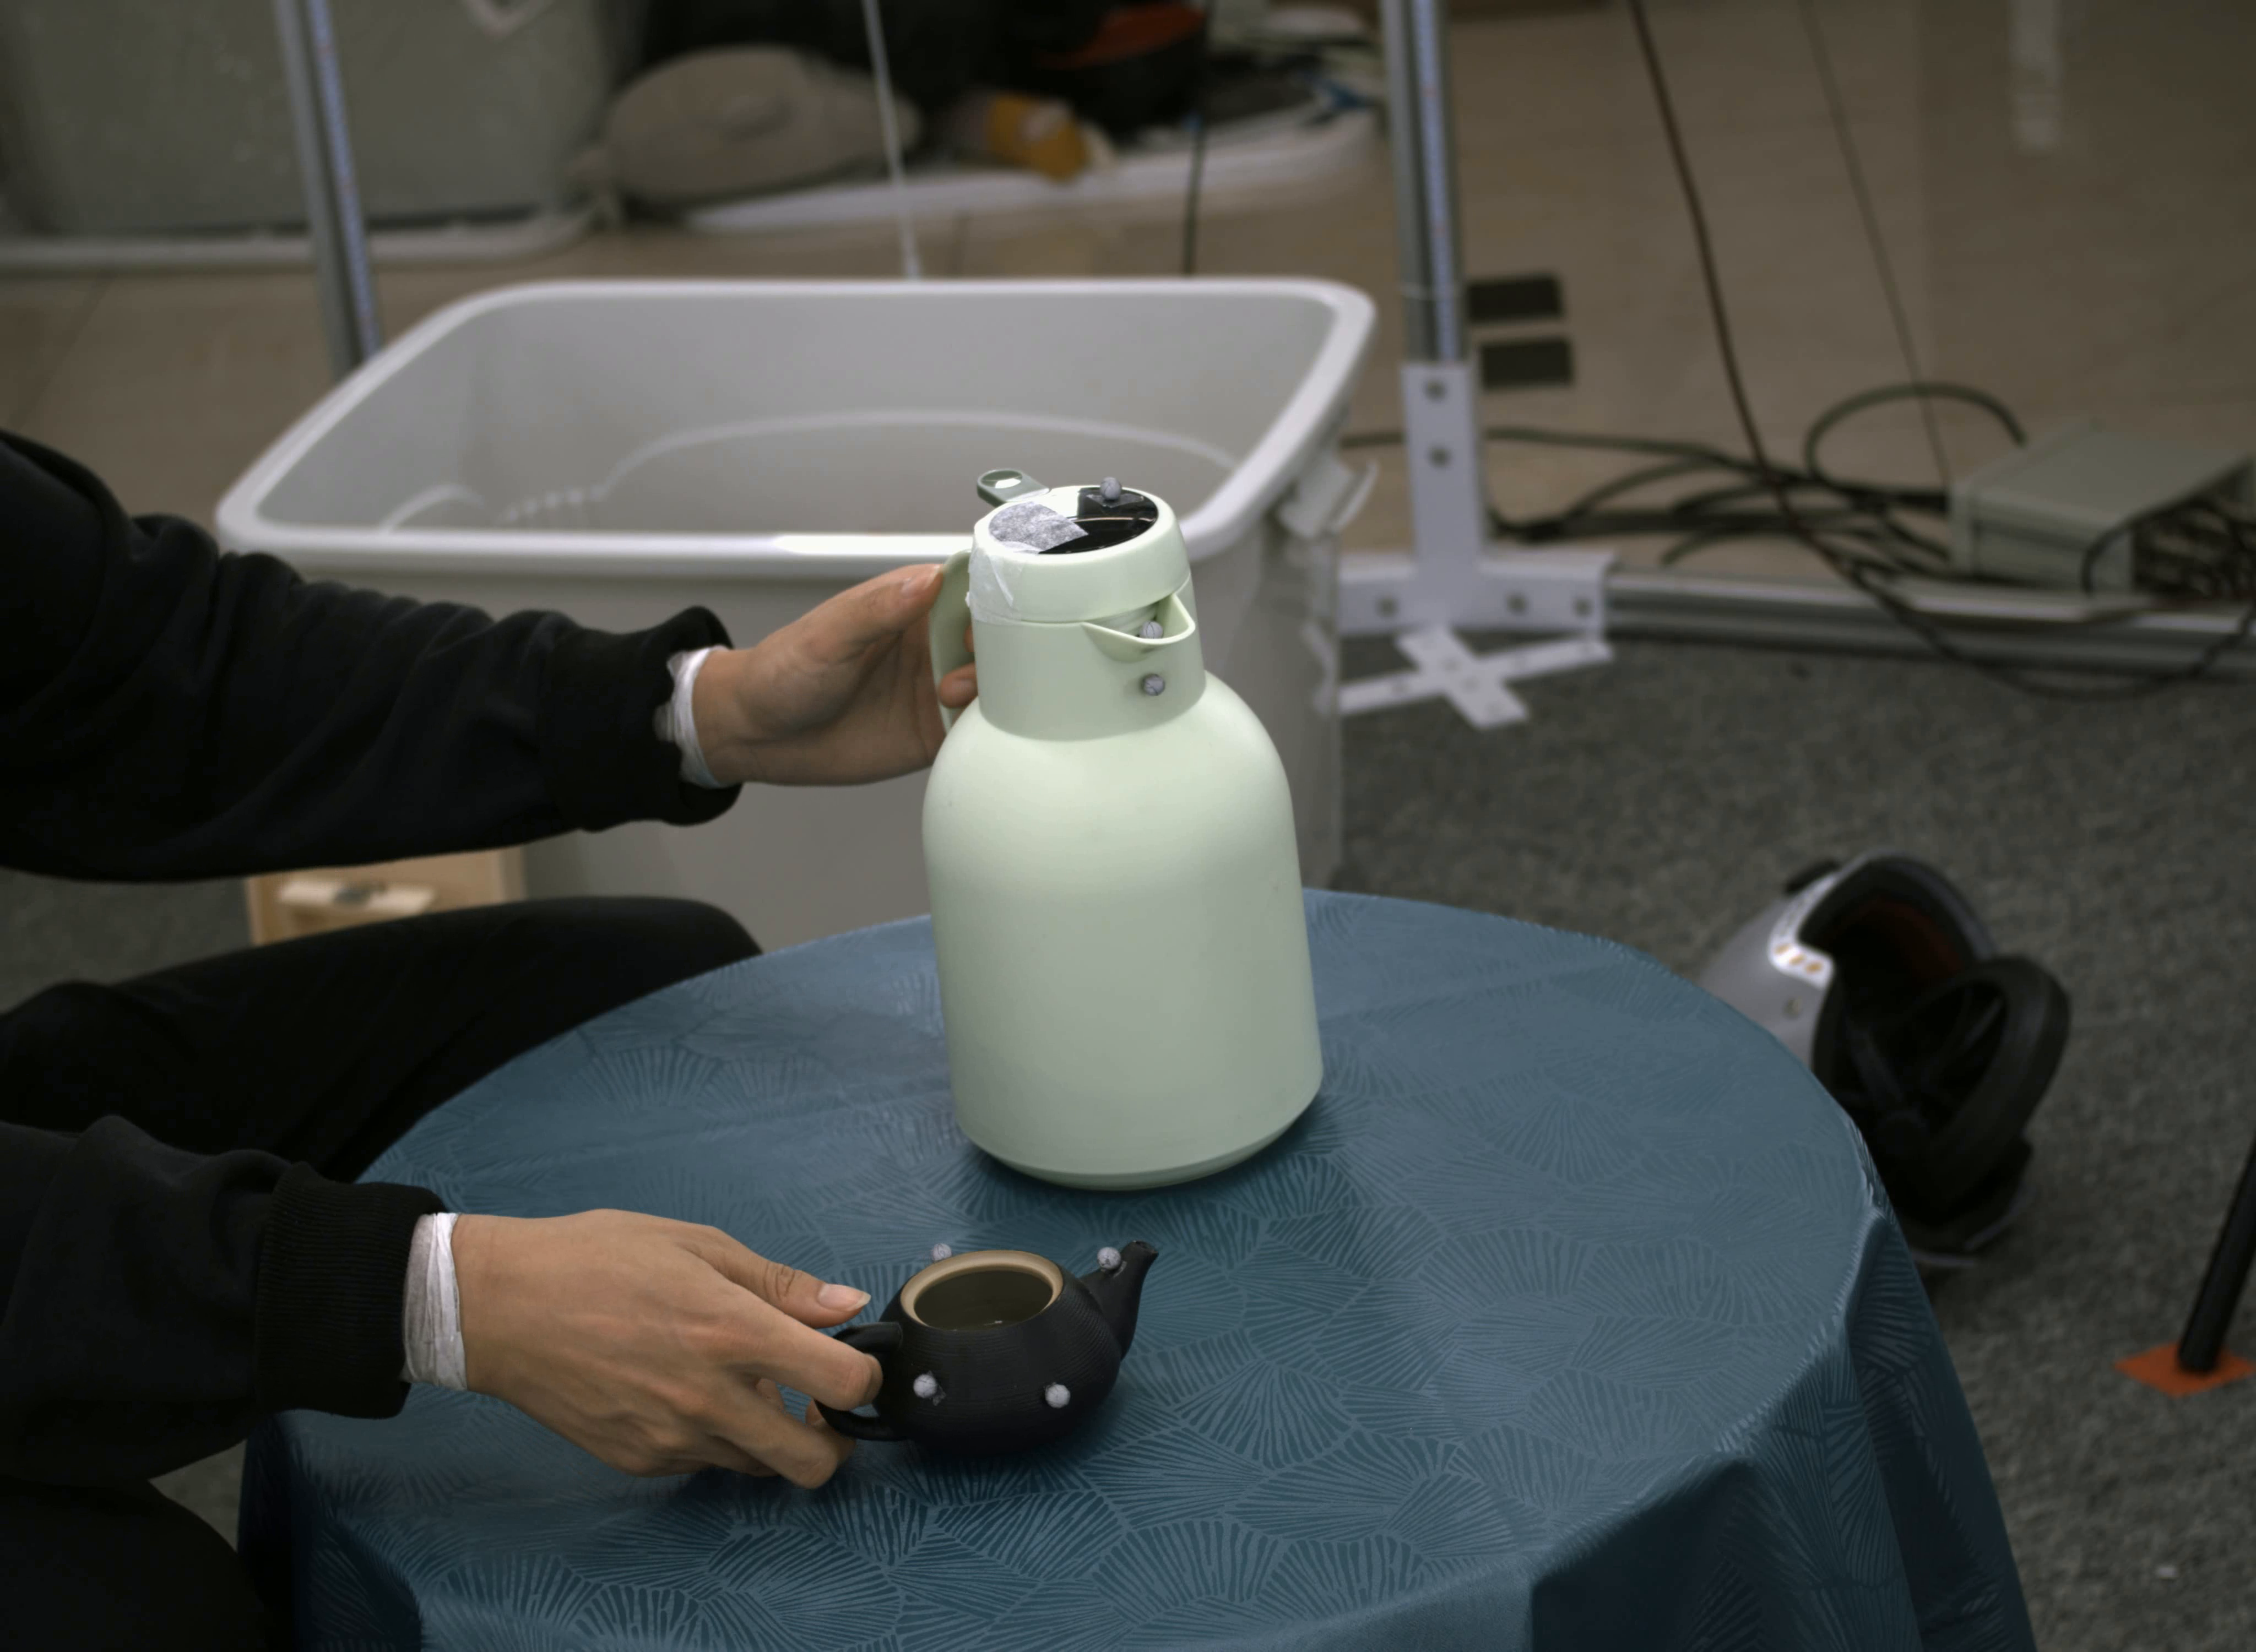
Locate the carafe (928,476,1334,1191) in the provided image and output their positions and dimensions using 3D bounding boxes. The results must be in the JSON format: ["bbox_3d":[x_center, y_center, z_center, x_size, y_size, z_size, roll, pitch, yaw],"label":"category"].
[{"bbox_3d":[-0.013,-0.004,2.159,0.143,0.260,0.185,-21,26,-24],"label":"carafe"}]

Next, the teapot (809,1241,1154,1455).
[{"bbox_3d":[-0.049,0.186,1.997,0.132,0.054,0.090,-15,25,-20],"label":"teapot"}]
